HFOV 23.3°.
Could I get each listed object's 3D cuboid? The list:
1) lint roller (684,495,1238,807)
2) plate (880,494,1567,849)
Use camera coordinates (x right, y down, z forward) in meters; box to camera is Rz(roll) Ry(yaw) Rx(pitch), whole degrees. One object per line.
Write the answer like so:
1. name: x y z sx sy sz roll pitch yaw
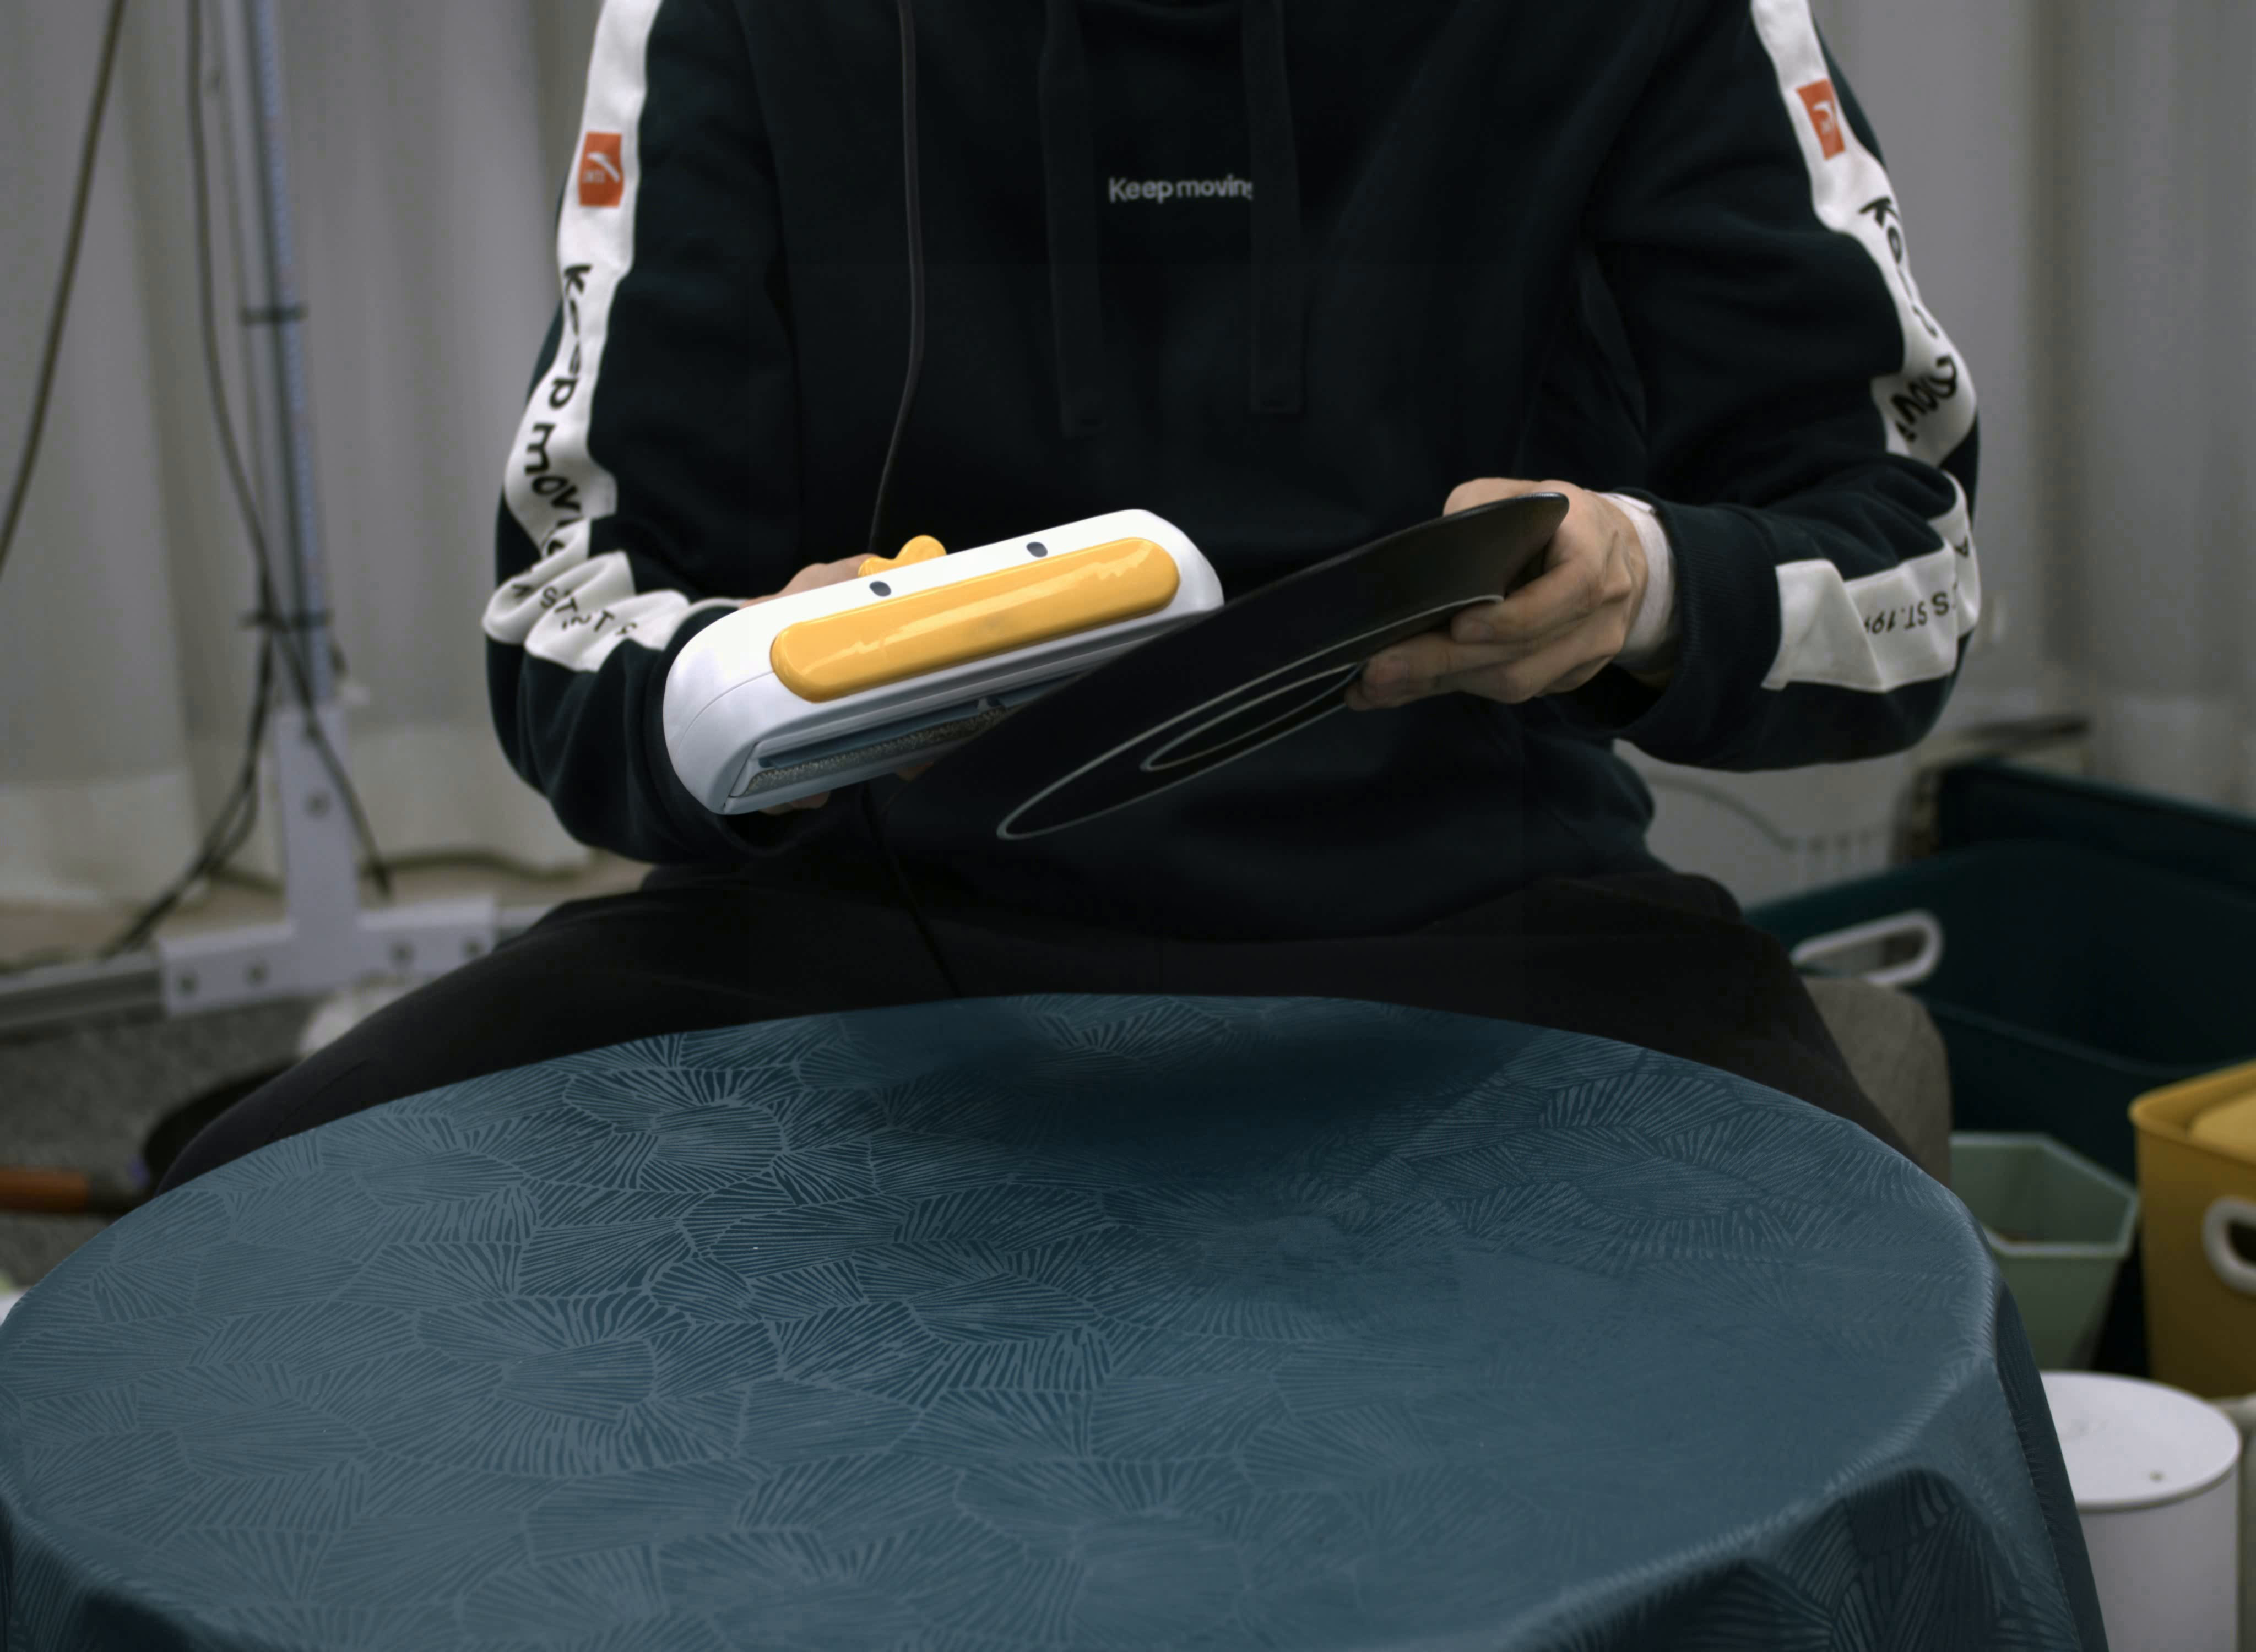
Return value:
1. lint roller: -0.080 -0.039 1.799 0.192 0.075 0.191 -20 -13 -33
2. plate: 0.035 -0.042 1.757 0.244 0.023 0.243 -25 -6 -4
